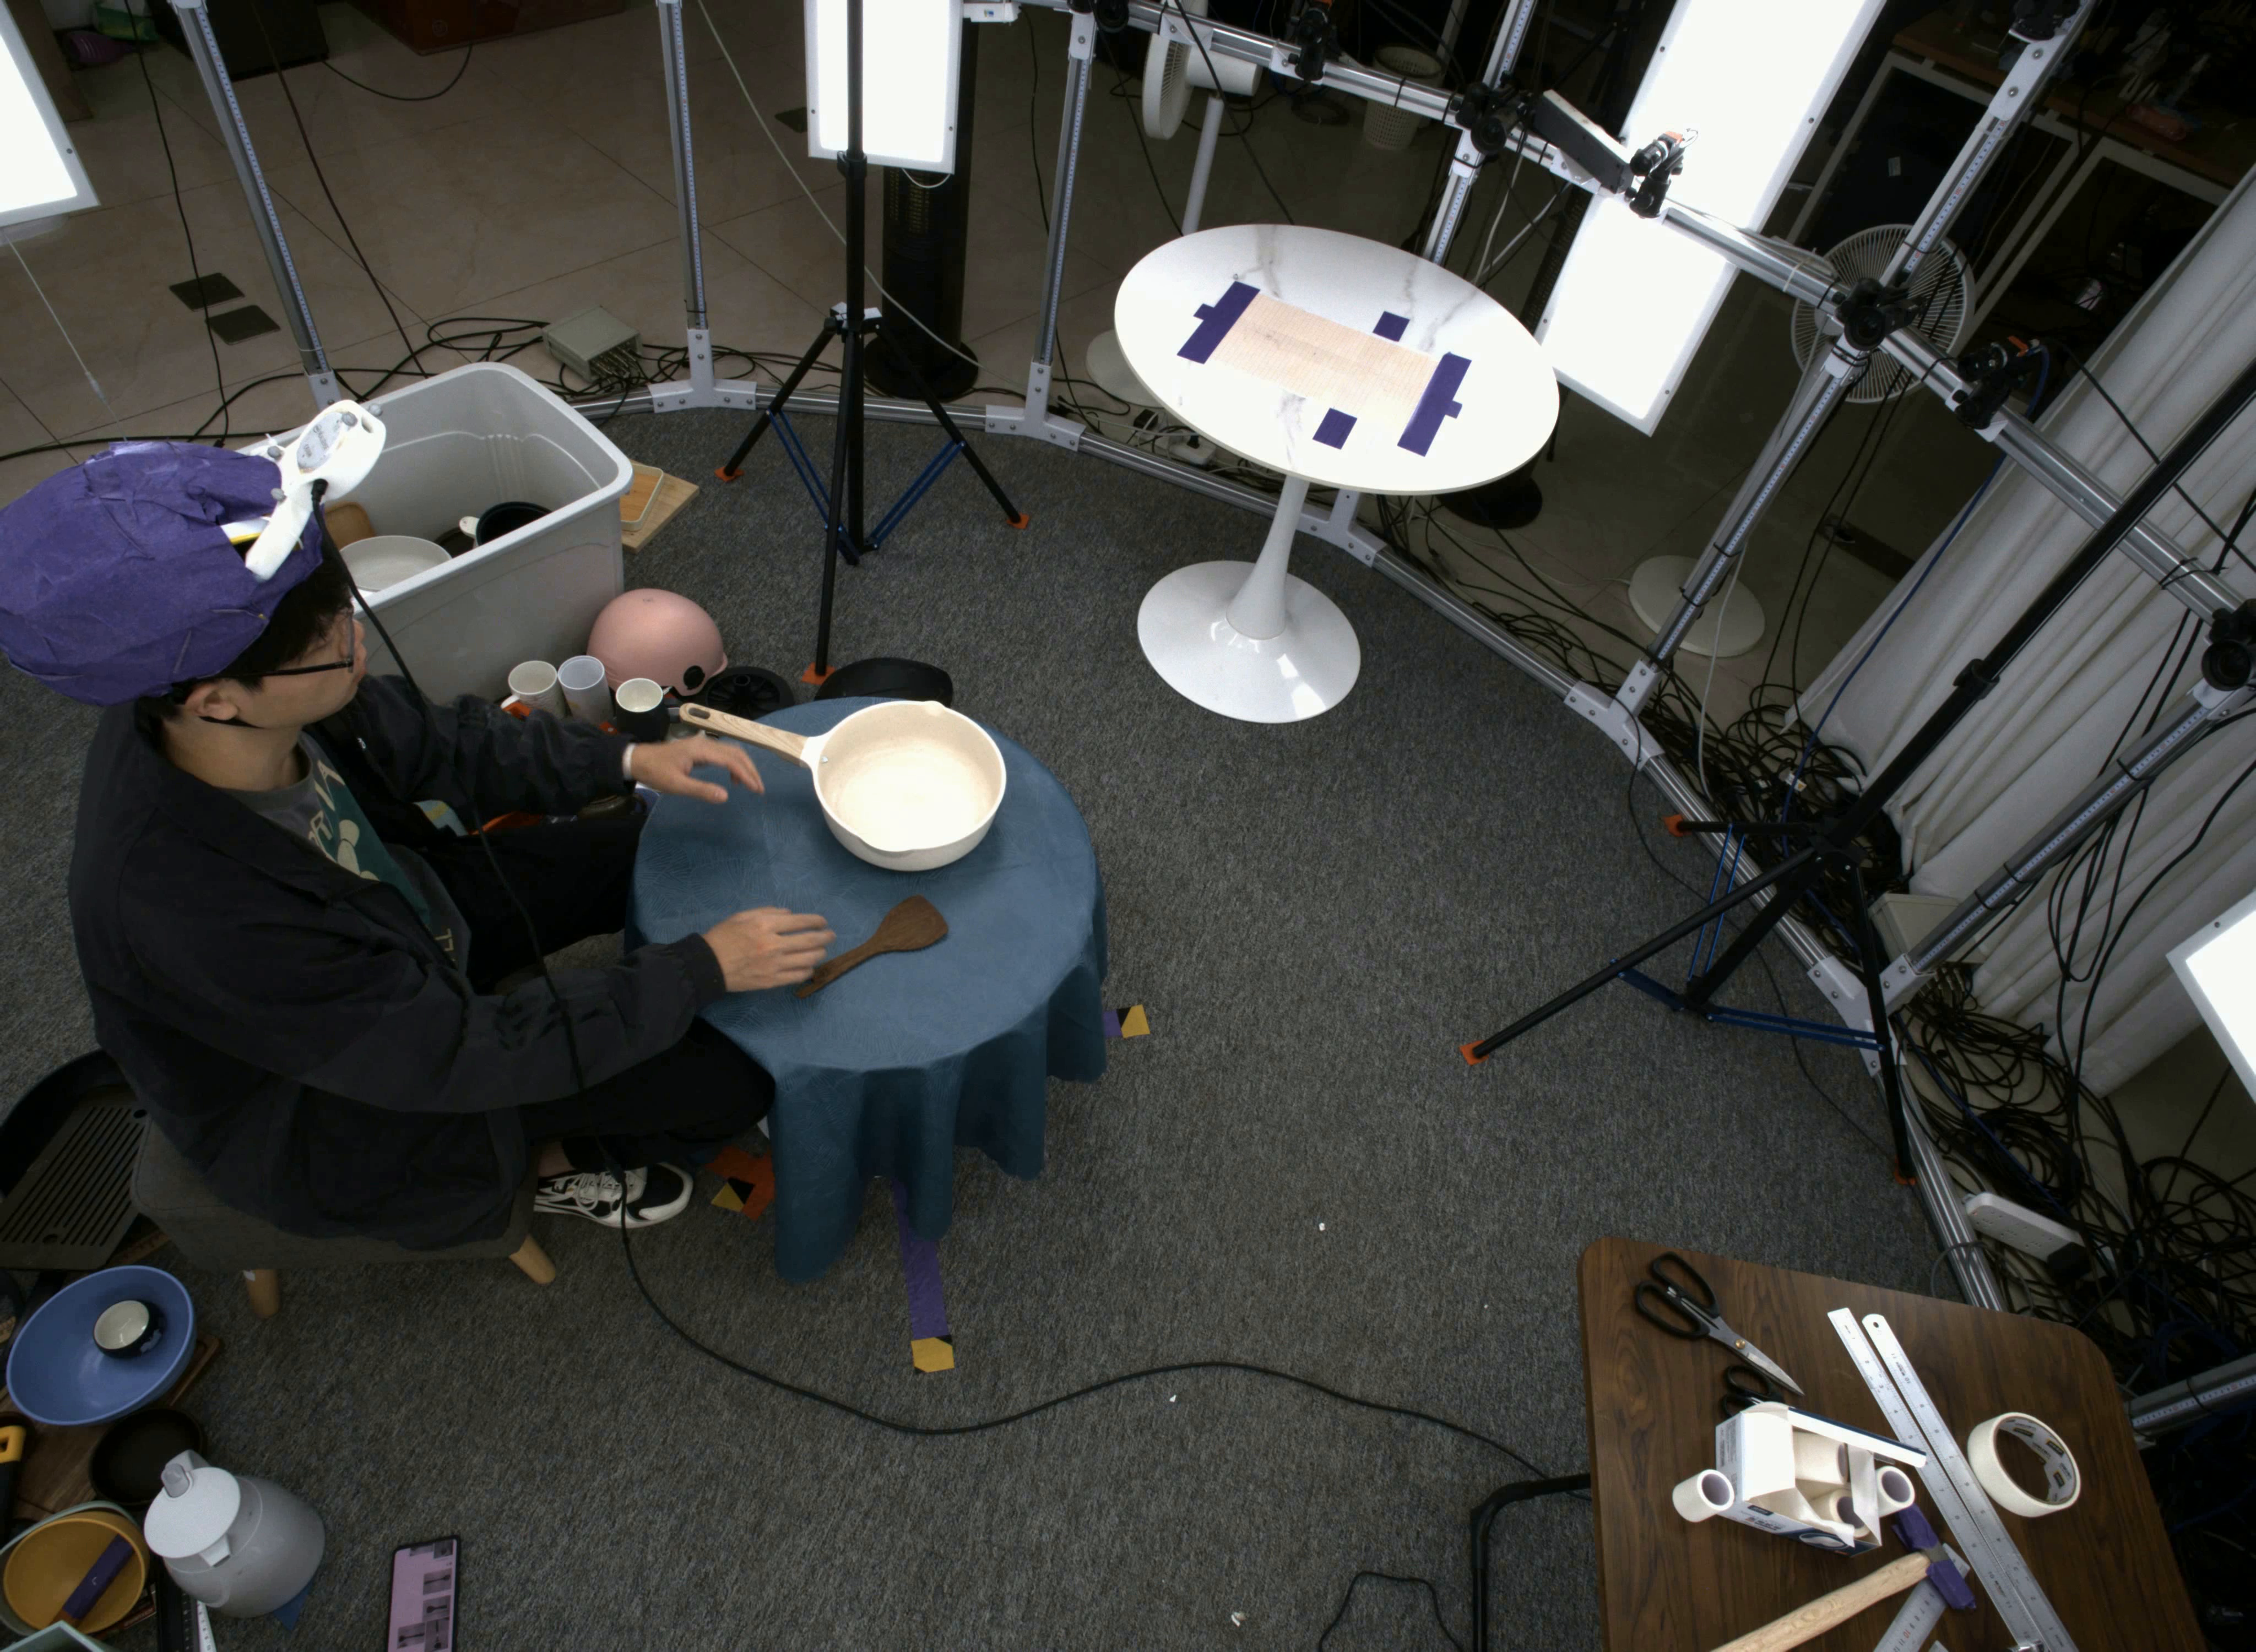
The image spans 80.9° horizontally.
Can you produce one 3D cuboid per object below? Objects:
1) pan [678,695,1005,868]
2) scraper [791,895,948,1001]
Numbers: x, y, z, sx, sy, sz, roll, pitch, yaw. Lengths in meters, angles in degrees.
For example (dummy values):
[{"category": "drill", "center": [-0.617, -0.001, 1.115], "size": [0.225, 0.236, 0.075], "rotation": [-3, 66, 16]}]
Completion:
[{"category": "pan", "center": [-0.381, -0.076, 1.729], "size": [0.432, 0.104, 0.260], "rotation": [12, 54, -4]}, {"category": "scraper", "center": [-0.326, 0.156, 1.628], "size": [0.212, 0.011, 0.074], "rotation": [-30, 65, -30]}]
